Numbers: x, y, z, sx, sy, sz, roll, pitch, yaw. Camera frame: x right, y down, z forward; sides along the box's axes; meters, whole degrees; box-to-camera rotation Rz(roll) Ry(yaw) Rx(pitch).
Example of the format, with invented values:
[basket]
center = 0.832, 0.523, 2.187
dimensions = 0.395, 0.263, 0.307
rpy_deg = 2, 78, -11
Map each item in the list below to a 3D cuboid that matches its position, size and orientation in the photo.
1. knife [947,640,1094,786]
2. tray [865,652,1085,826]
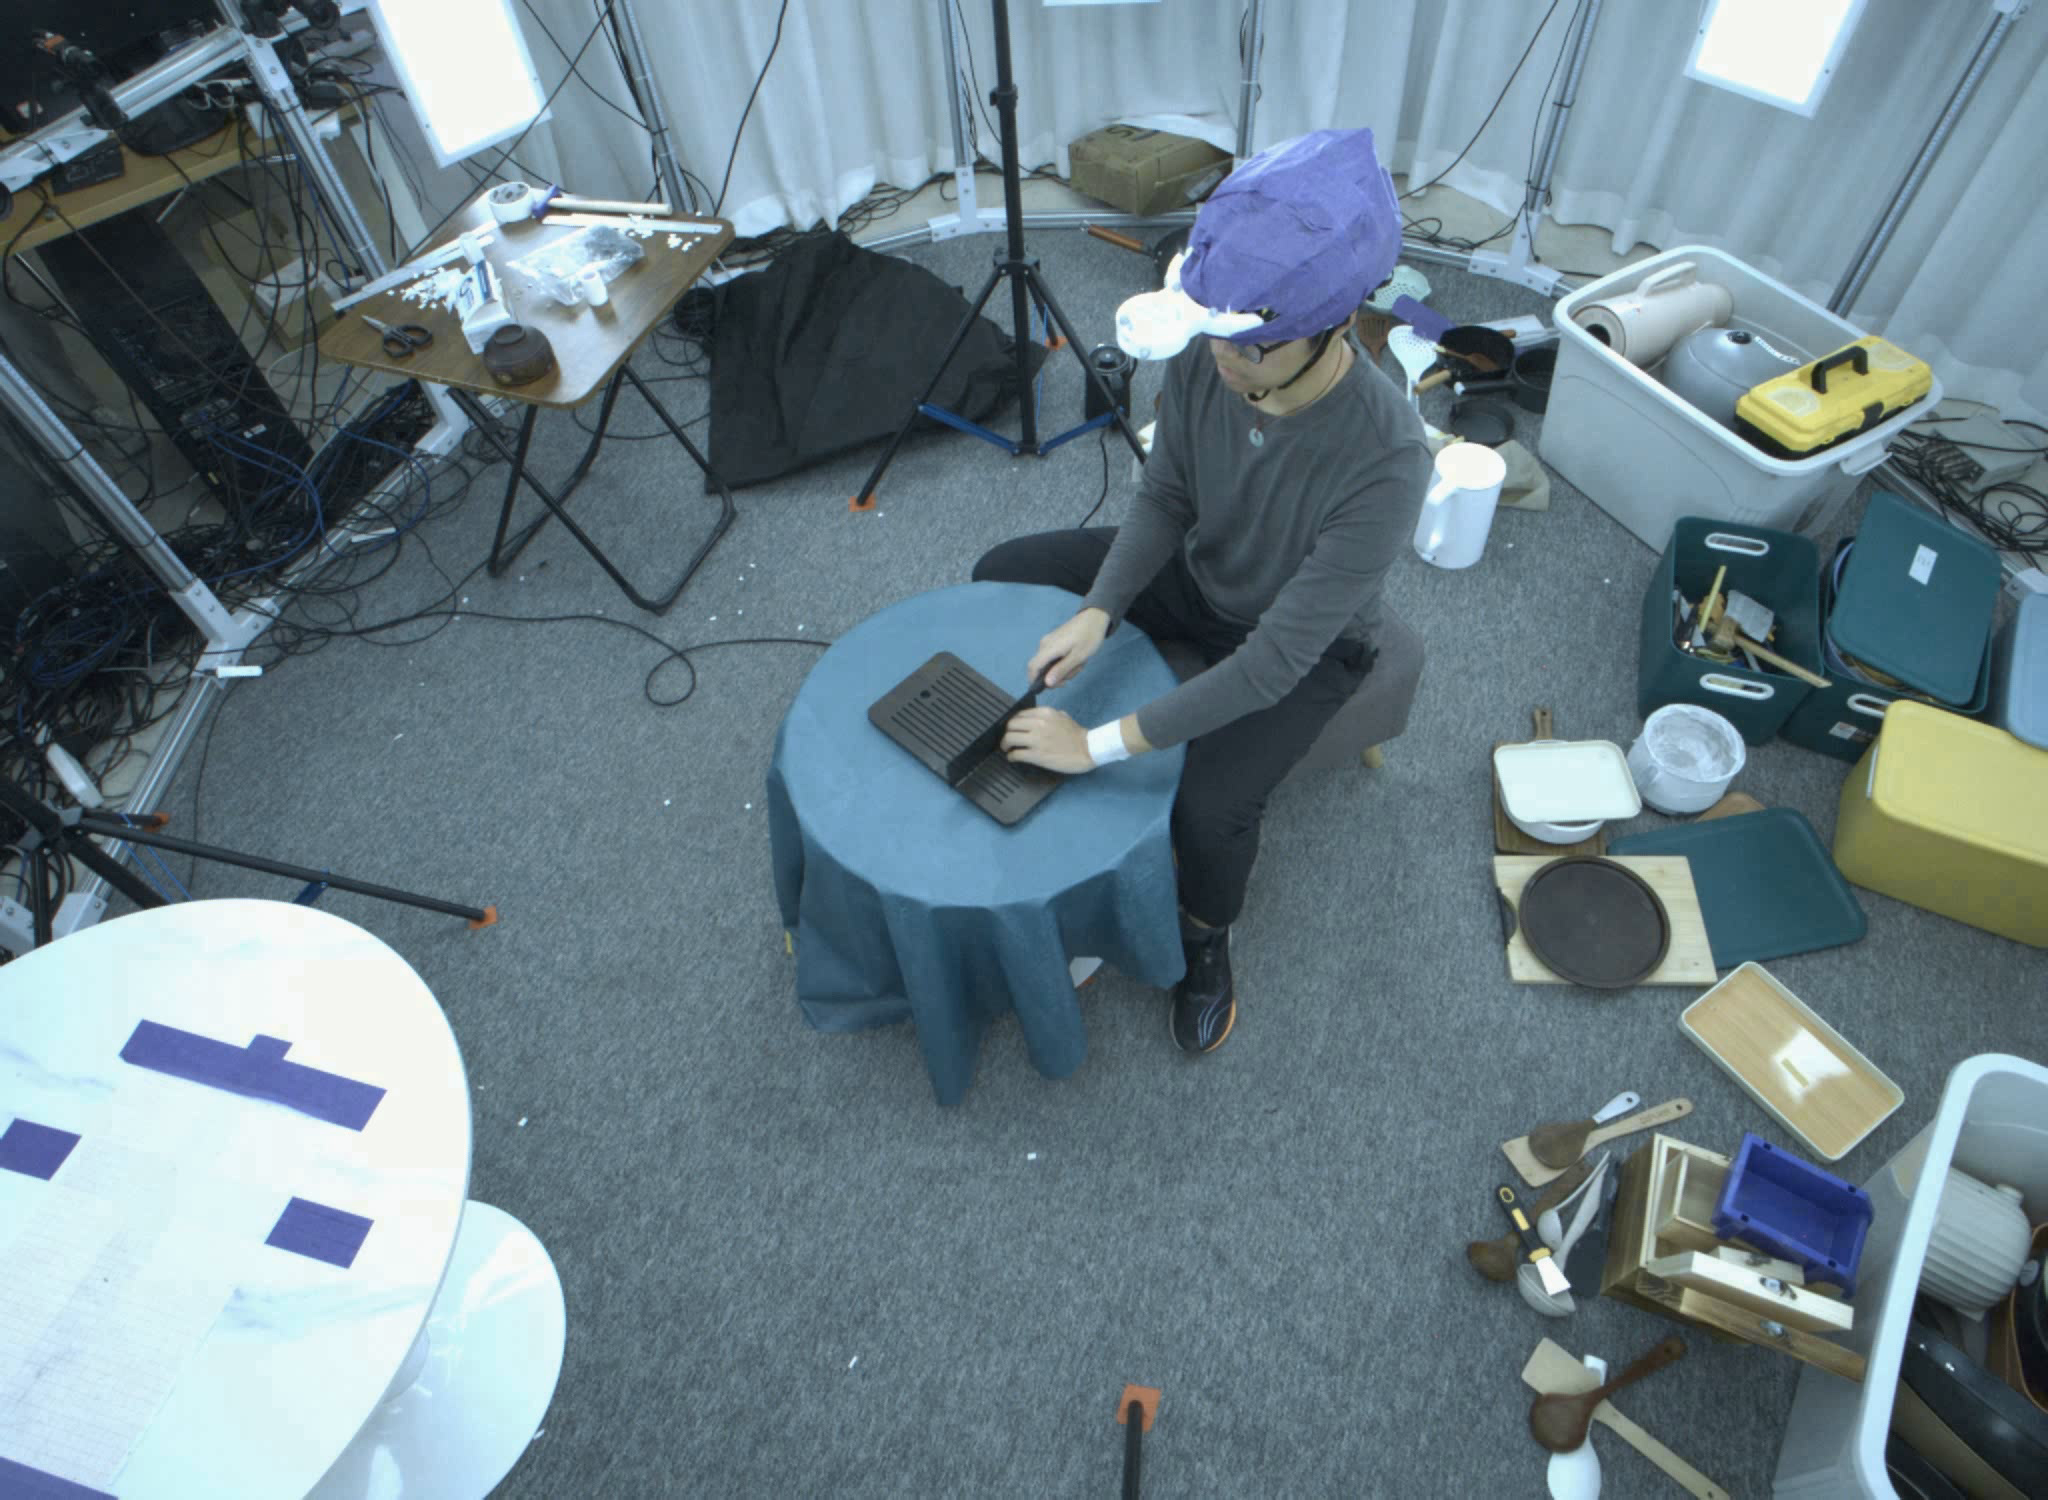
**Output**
[knife]
center = -0.004, -0.058, 1.767
dimensions = 0.020, 0.082, 0.304
rpy_deg = 37, 68, 23
[tray]
center = -0.074, -0.020, 1.800
dimensions = 0.300, 0.019, 0.171
rpy_deg = 37, 62, 24
